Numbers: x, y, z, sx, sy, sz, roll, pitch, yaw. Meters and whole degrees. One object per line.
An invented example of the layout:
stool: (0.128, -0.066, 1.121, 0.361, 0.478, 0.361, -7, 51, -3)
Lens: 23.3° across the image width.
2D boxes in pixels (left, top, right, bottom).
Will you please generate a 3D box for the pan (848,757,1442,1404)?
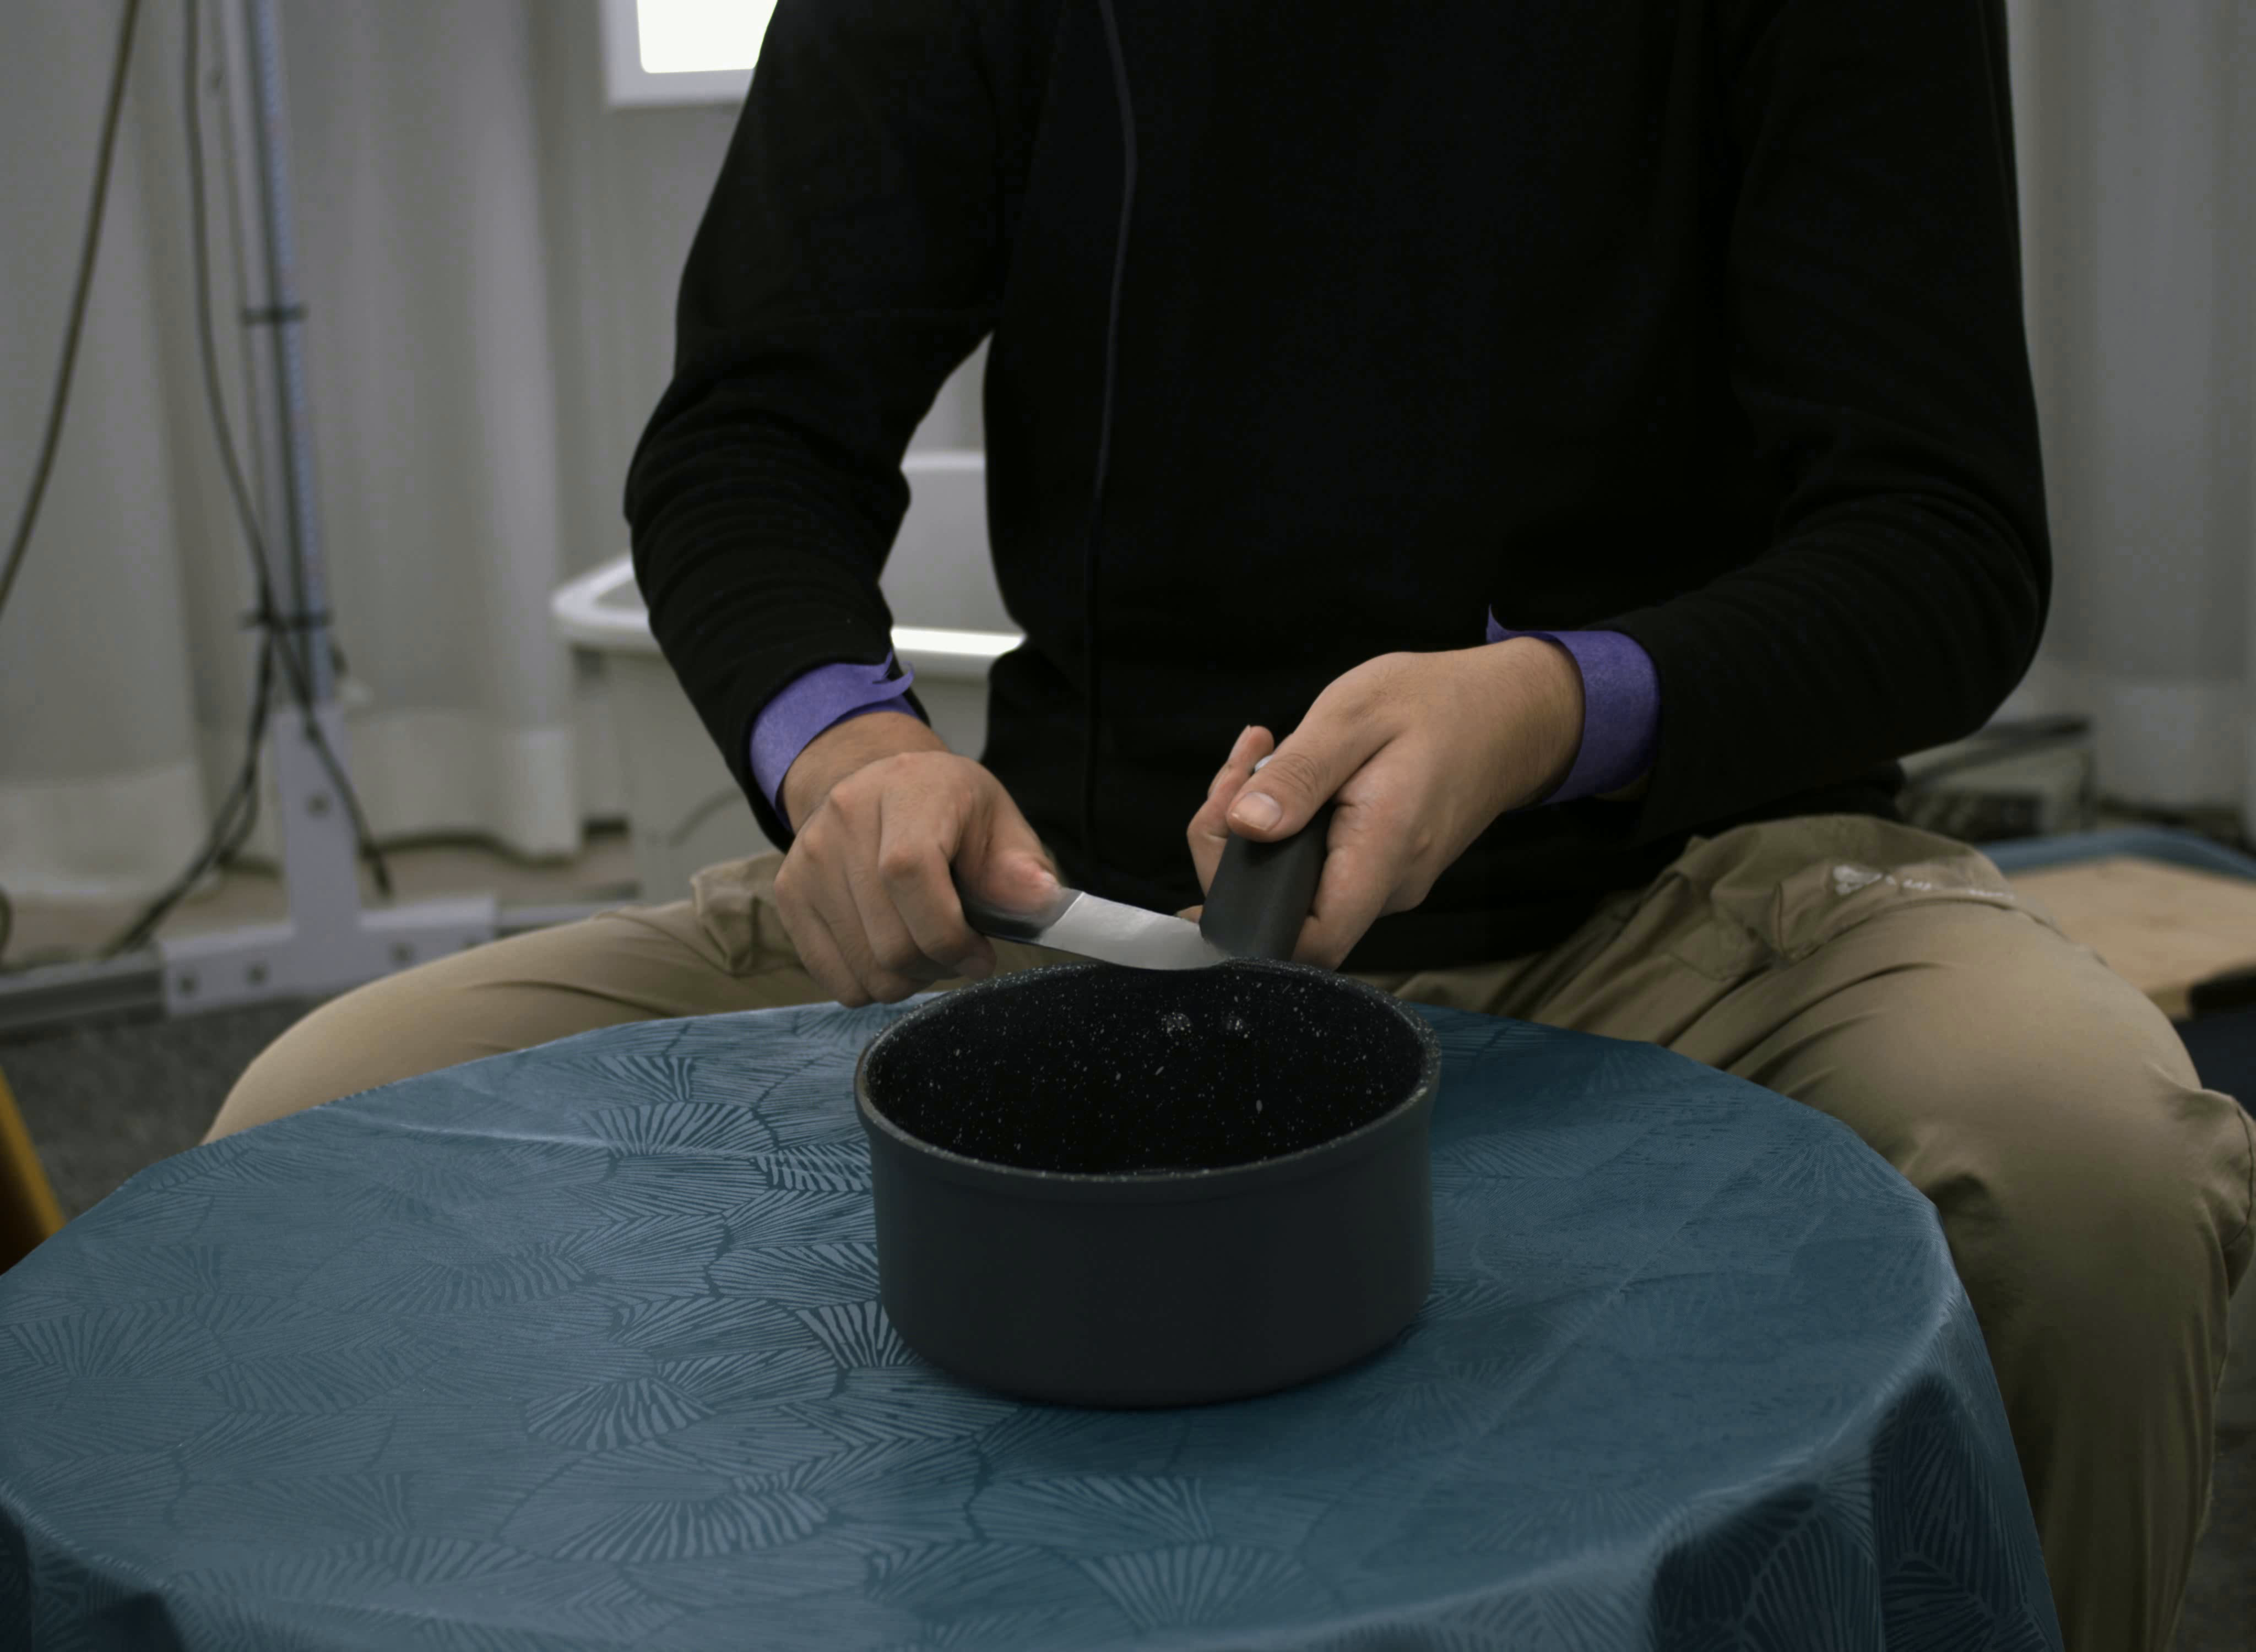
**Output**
pan: (0.027, 0.073, 1.661, 0.172, 0.086, 0.331, 3, 21, 16)

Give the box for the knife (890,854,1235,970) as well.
knife: (-0.023, 0.030, 1.699, 0.024, 0.016, 0.239, -46, 22, -14)
